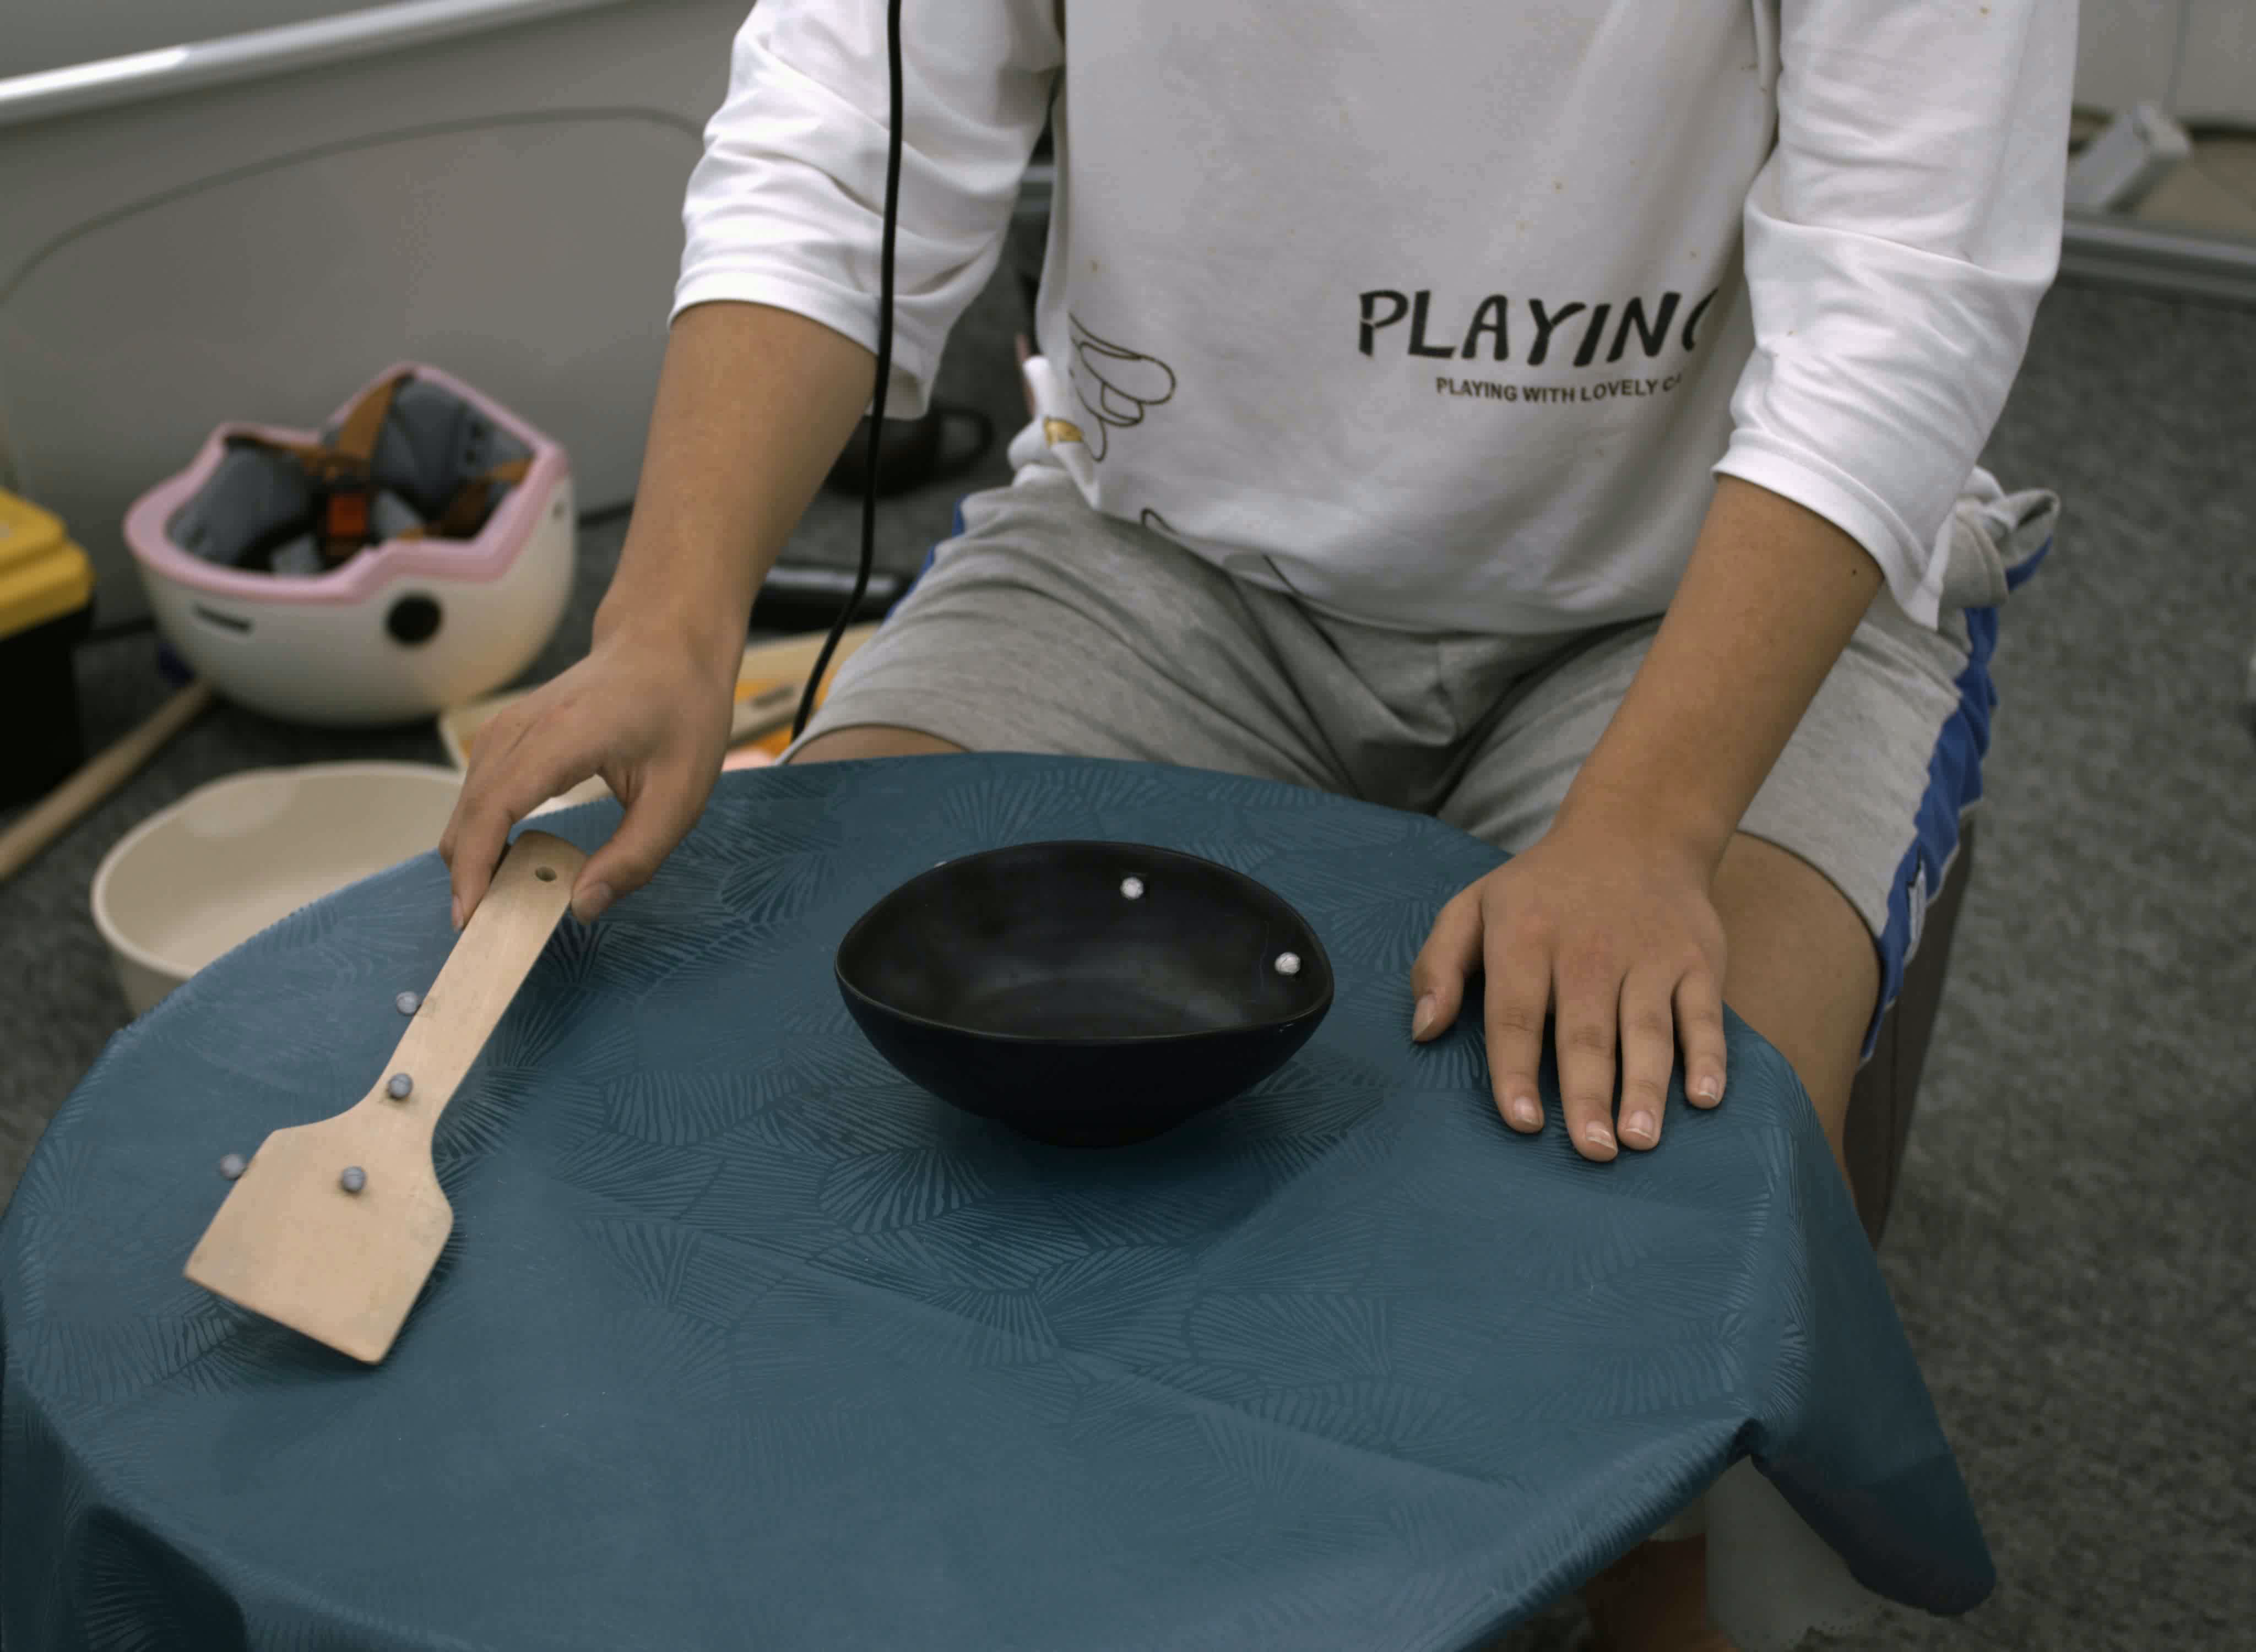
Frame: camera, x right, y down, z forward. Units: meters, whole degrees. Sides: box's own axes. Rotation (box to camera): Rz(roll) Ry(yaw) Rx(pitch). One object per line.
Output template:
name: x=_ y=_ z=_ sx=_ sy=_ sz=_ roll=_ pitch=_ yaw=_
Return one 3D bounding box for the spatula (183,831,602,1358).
spatula: x=-0.237 y=0.083 z=1.909 sx=0.072 sy=0.010 sz=0.298 roll=23 pitch=35 yaw=2

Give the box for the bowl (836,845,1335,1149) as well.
bowl: x=-0.014 y=0.065 z=1.907 sx=0.169 sy=0.066 sz=0.139 roll=3 pitch=27 yaw=6
